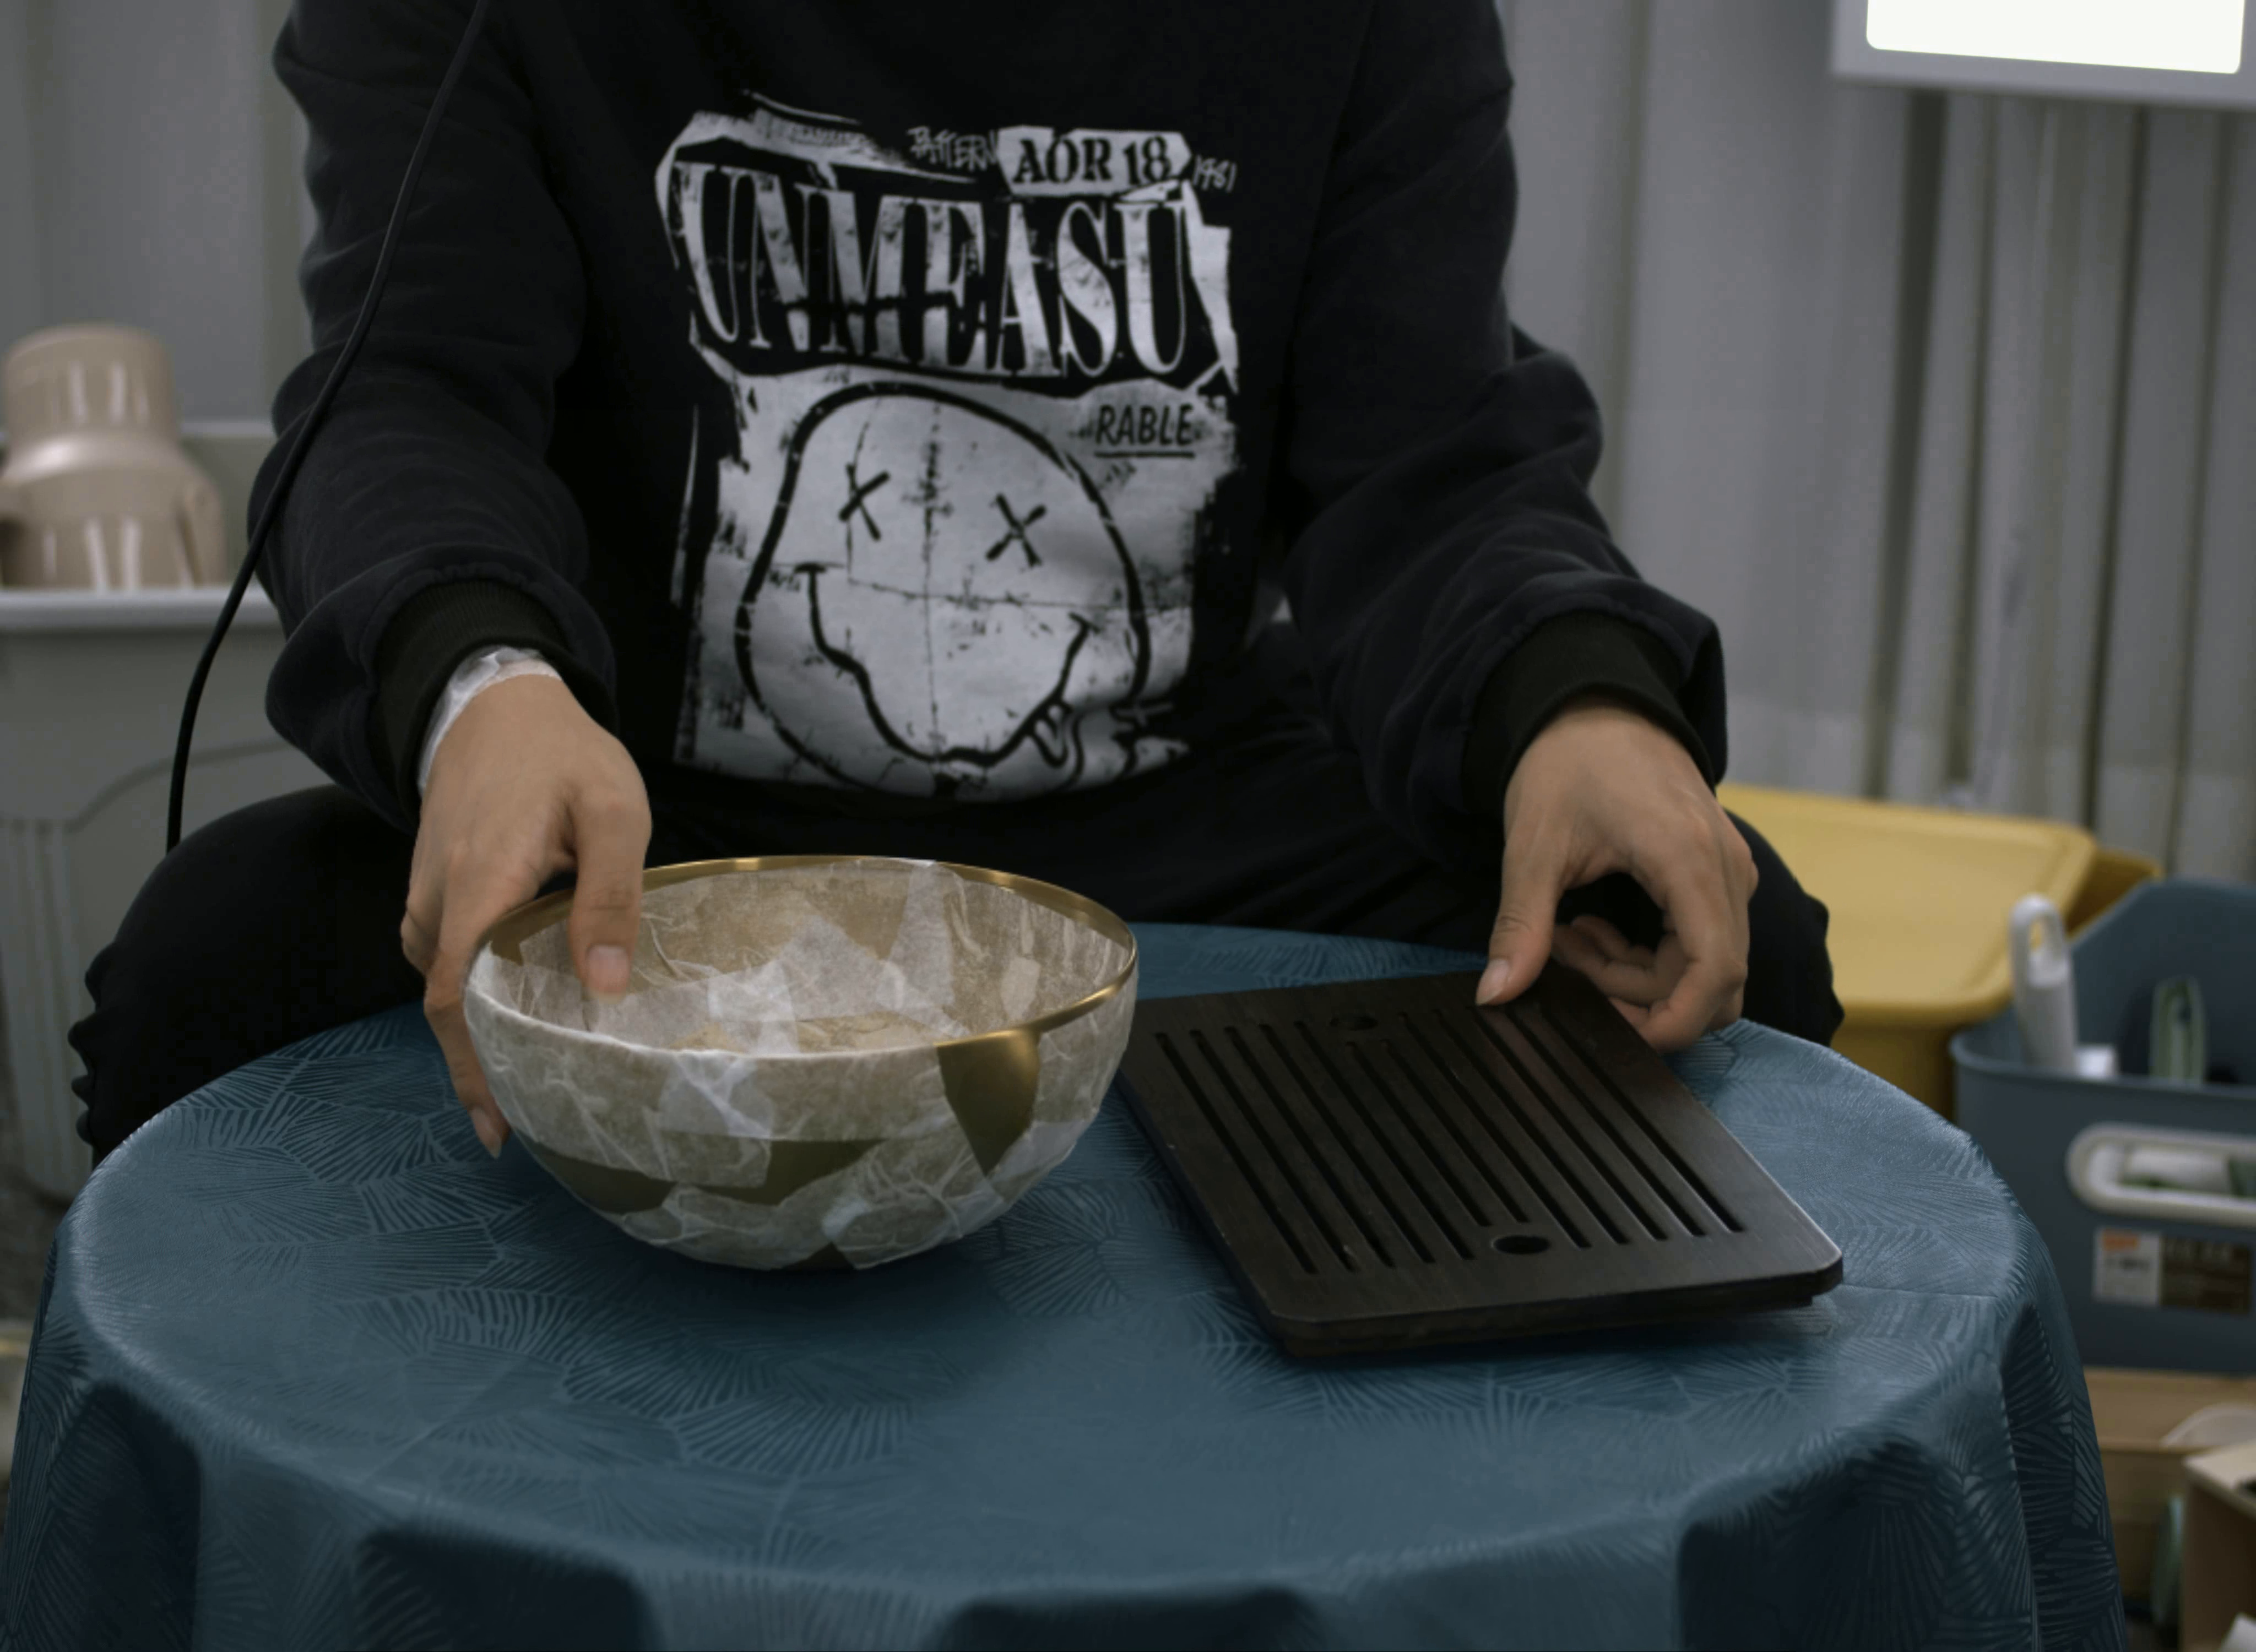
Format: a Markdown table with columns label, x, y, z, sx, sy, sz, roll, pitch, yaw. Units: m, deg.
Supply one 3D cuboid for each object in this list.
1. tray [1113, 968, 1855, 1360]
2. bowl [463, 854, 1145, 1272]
| label | x | y | z | sx | sy | sz | roll | pitch | yaw |
| --- | --- | --- | --- | --- | --- | --- | --- | --- | --- |
| tray | 0.099 | 0.101 | 1.632 | 0.170 | 0.019 | 0.303 | -4 | 16 | -10 |
| bowl | -0.093 | 0.078 | 1.575 | 0.214 | 0.095 | 0.213 | 0 | 16 | 1 |
